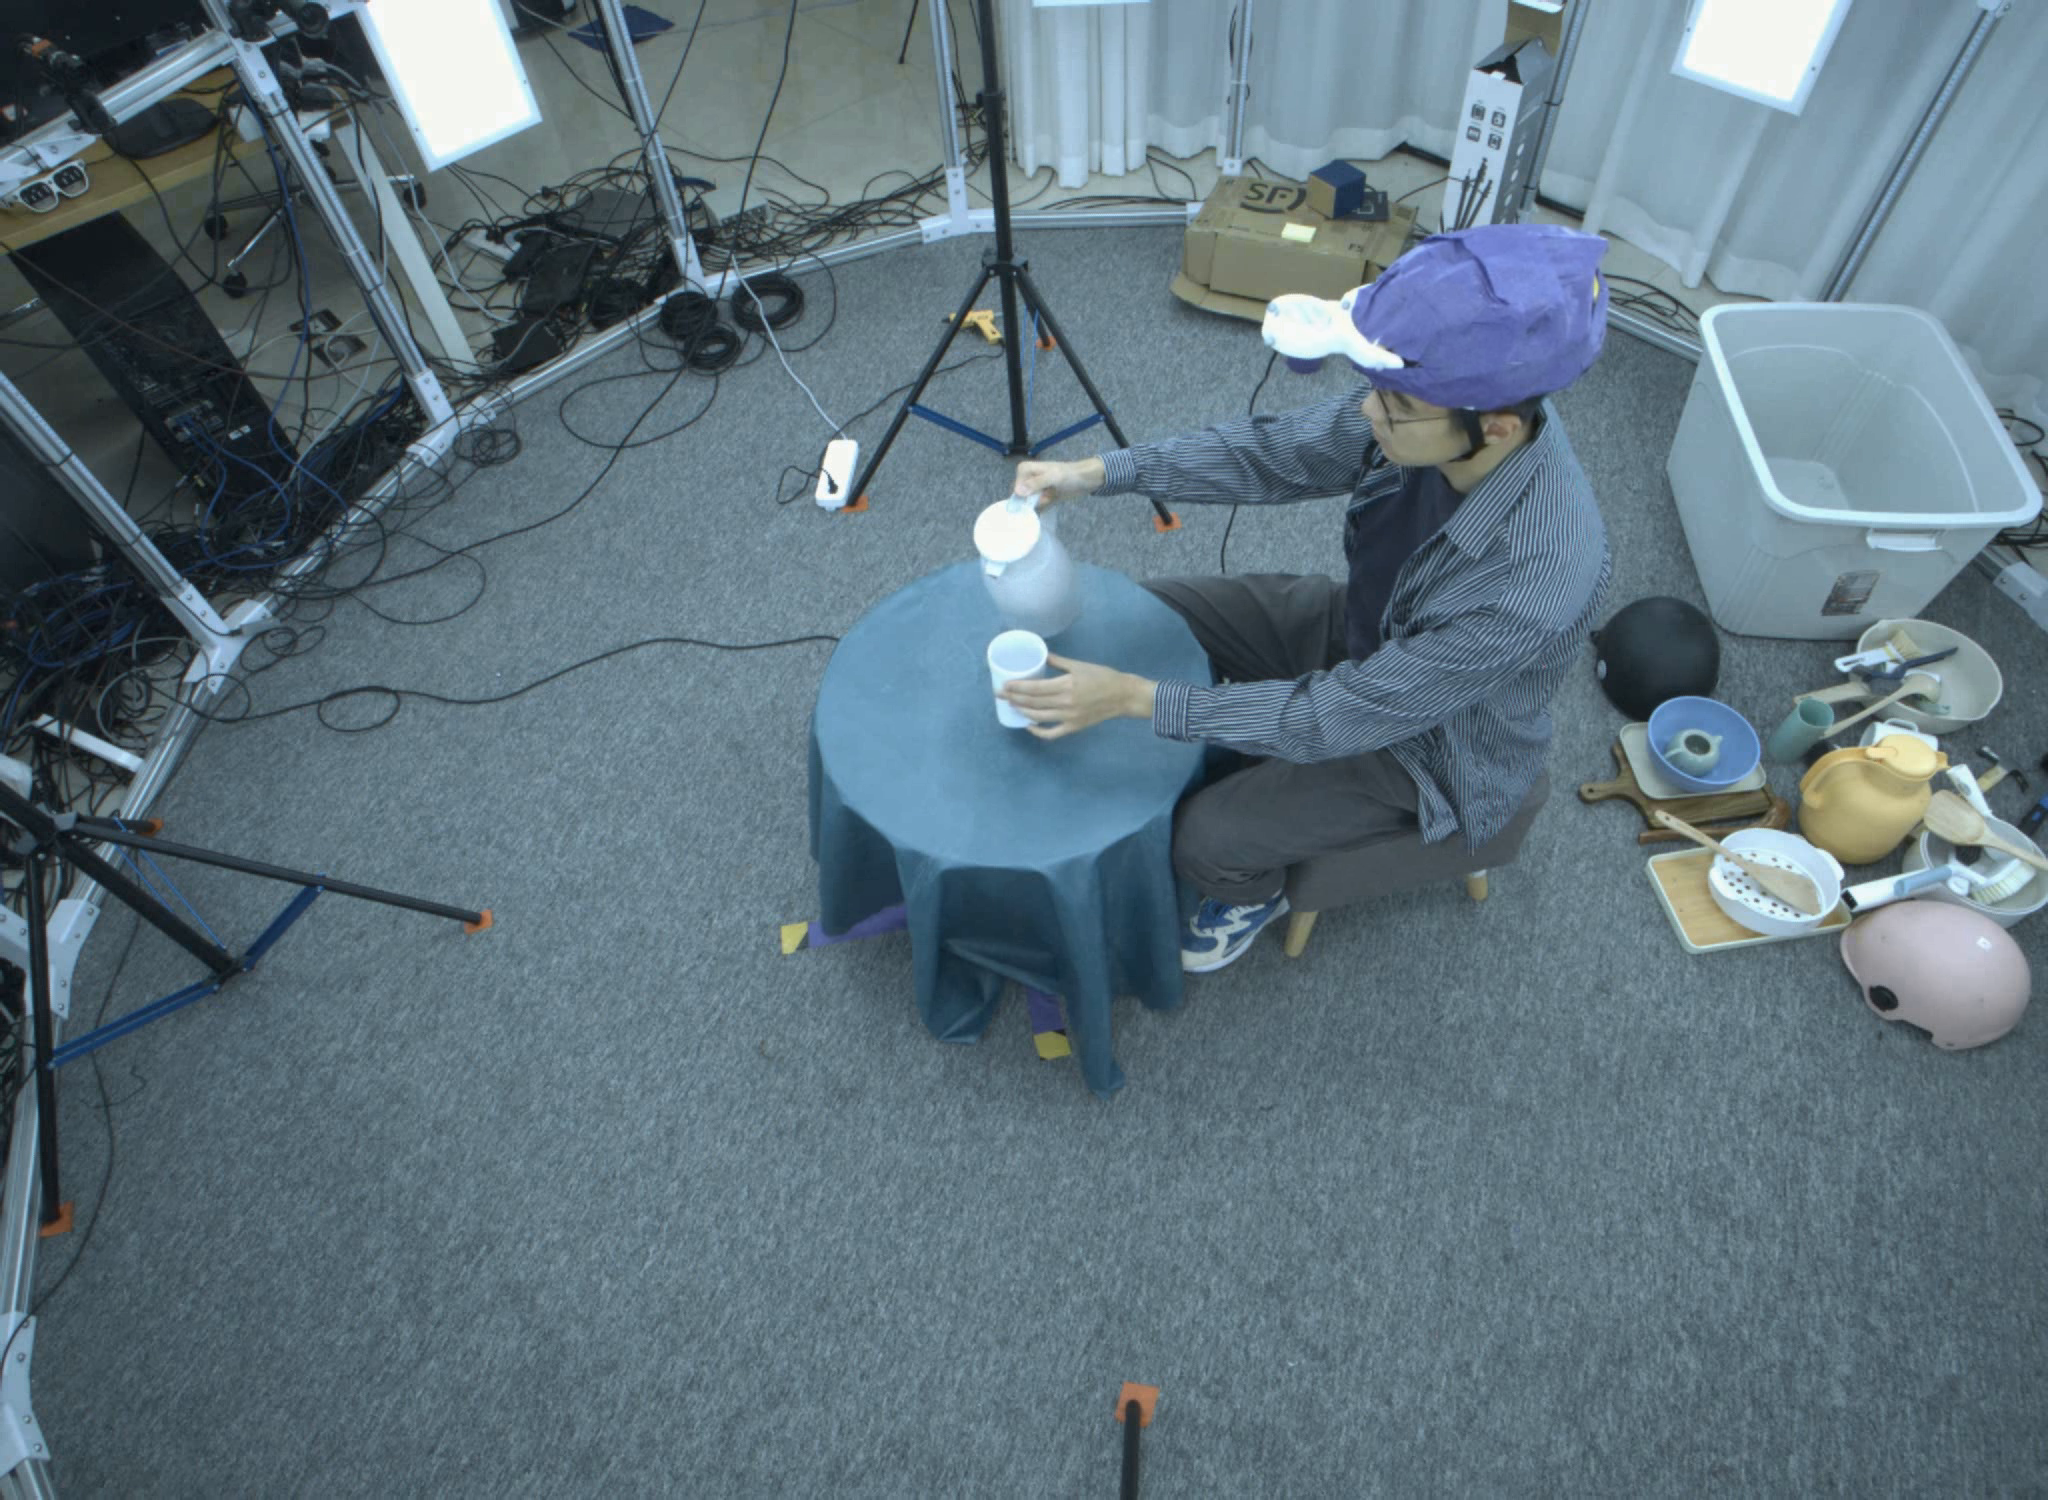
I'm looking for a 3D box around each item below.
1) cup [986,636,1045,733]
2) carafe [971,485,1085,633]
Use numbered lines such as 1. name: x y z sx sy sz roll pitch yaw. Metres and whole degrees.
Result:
1. cup: -0.010 -0.088 1.723 0.082 0.127 0.081 0 53 1
2. carafe: 0.002 -0.286 1.759 0.131 0.252 0.167 12 80 16
